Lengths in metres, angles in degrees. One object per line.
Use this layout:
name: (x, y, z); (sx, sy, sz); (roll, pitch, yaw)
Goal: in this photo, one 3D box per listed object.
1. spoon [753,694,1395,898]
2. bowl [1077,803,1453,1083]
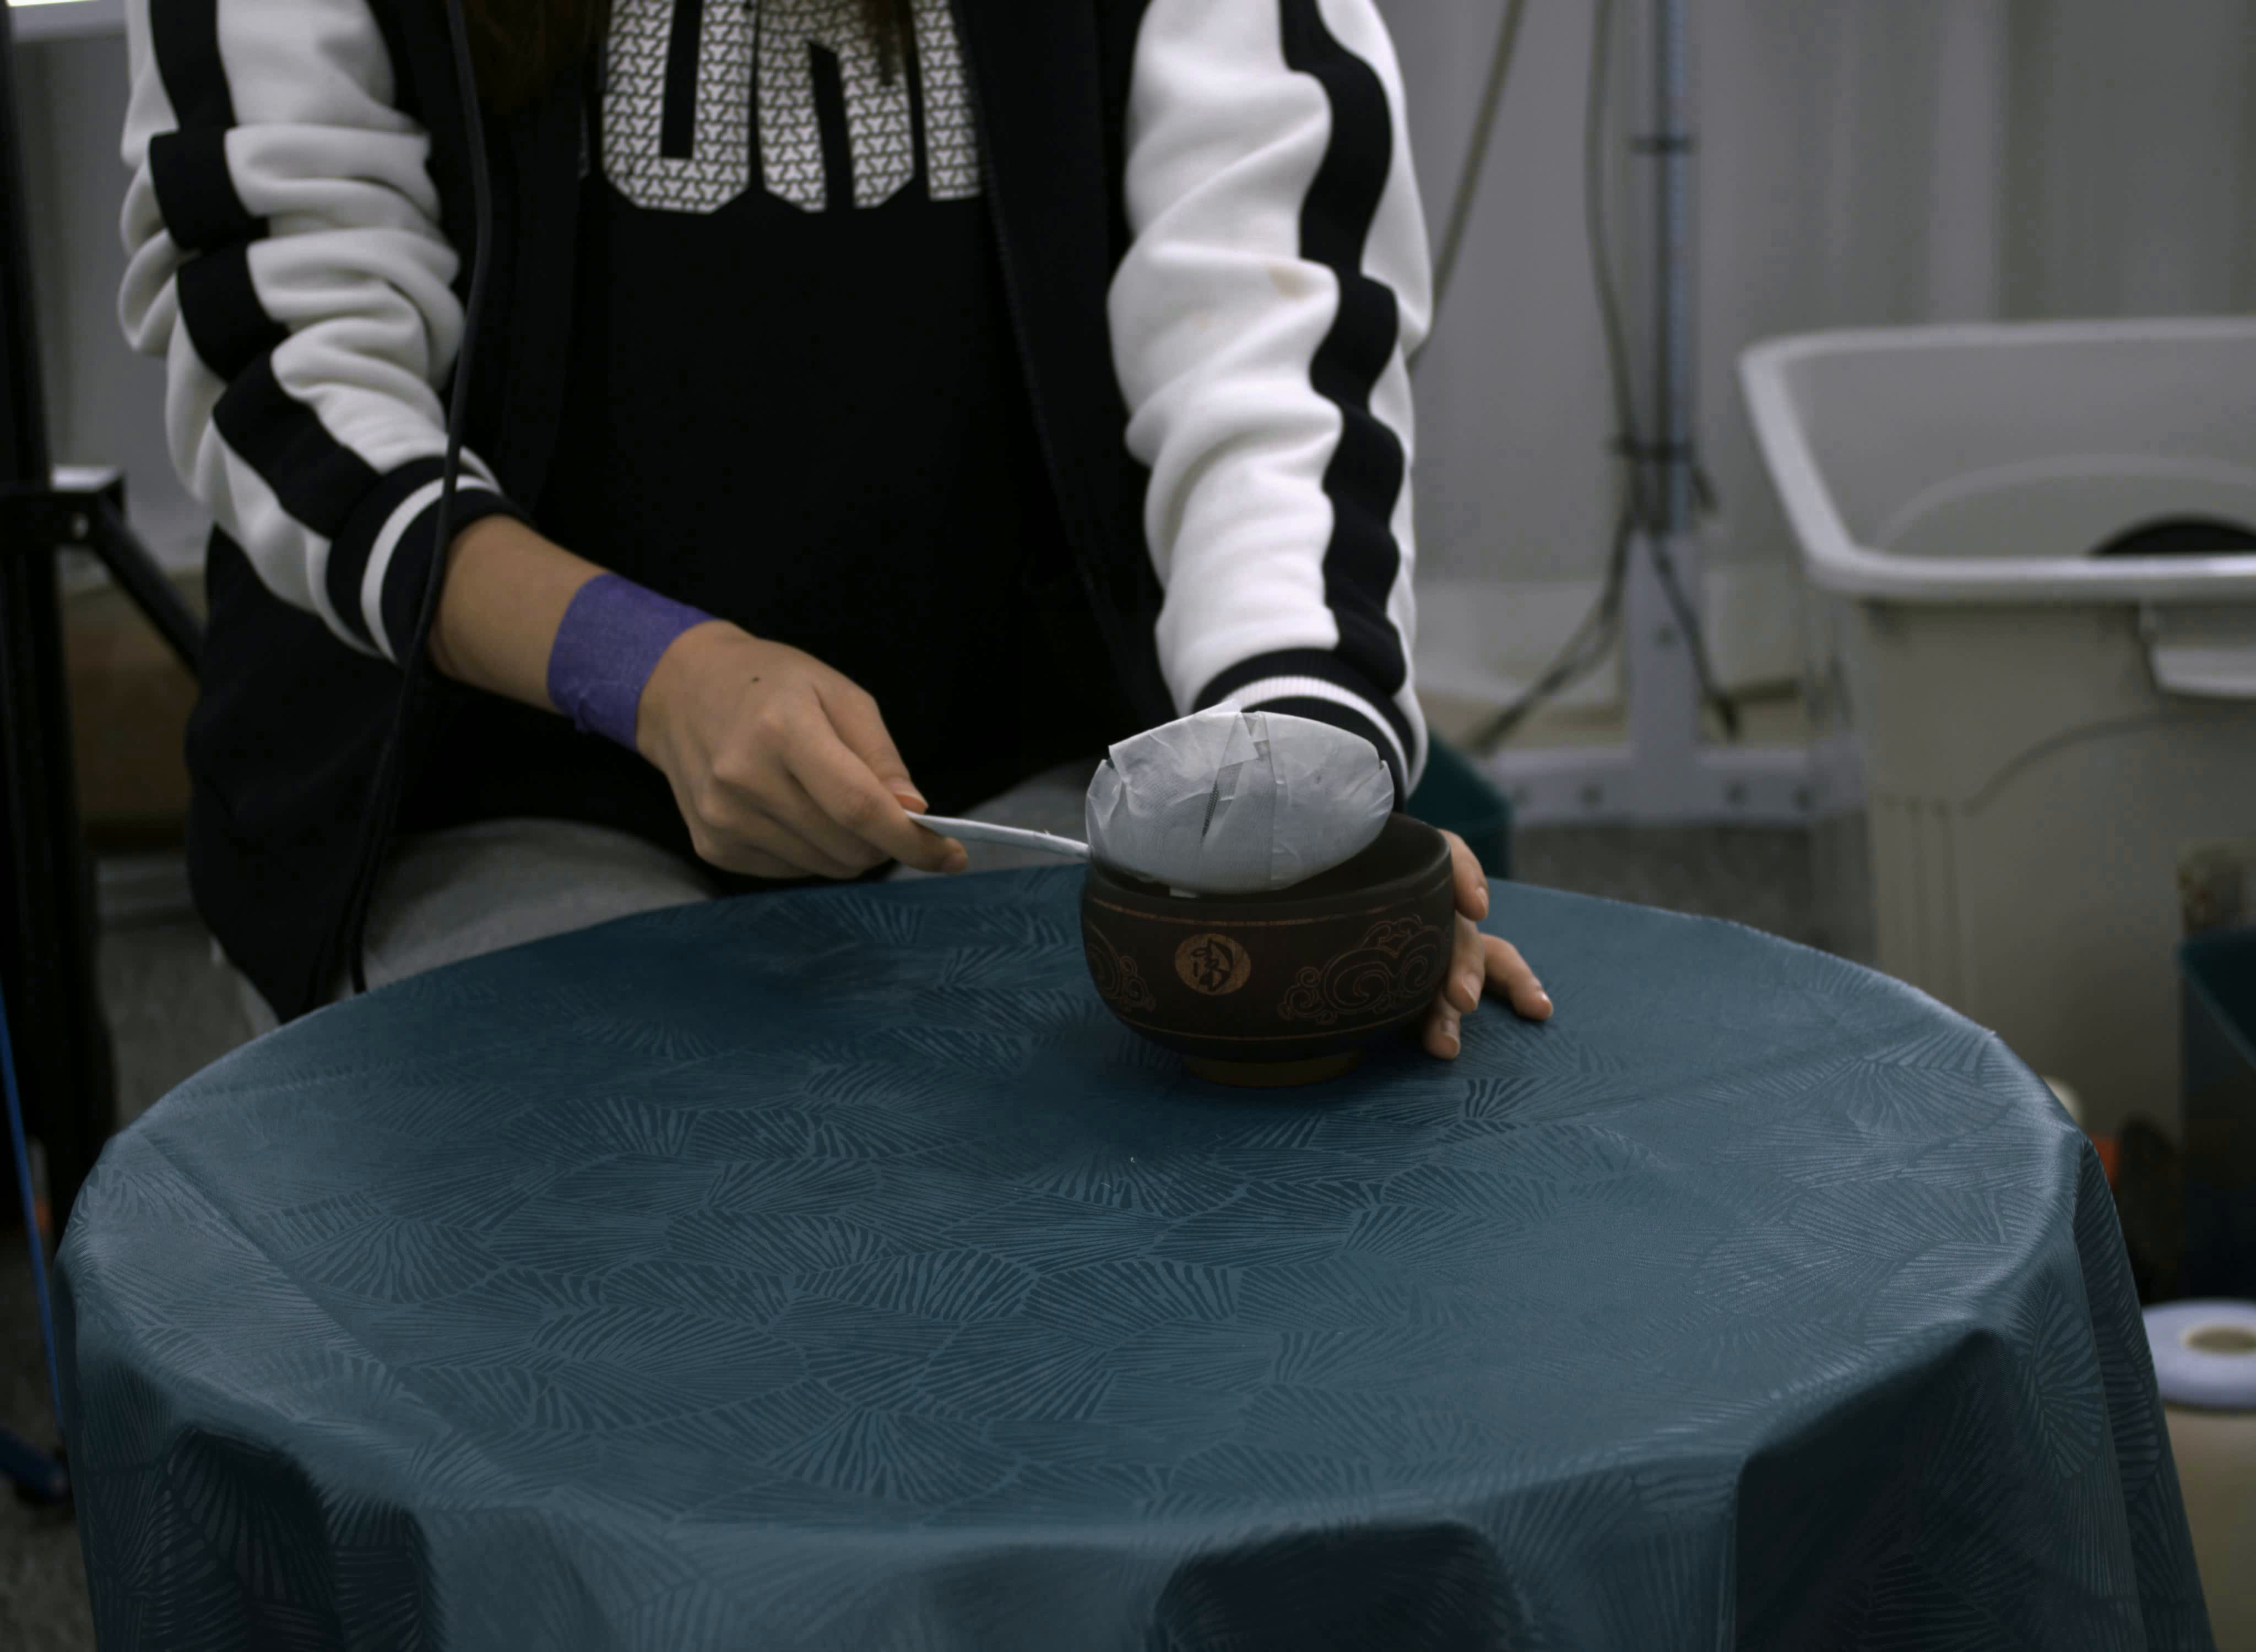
spoon: (-0.024, -0.015, 1.686); (0.098, 0.059, 0.283); (38, -17, -33)
bowl: (0.043, 0.039, 1.661); (0.117, 0.070, 0.118); (-2, 16, -1)
